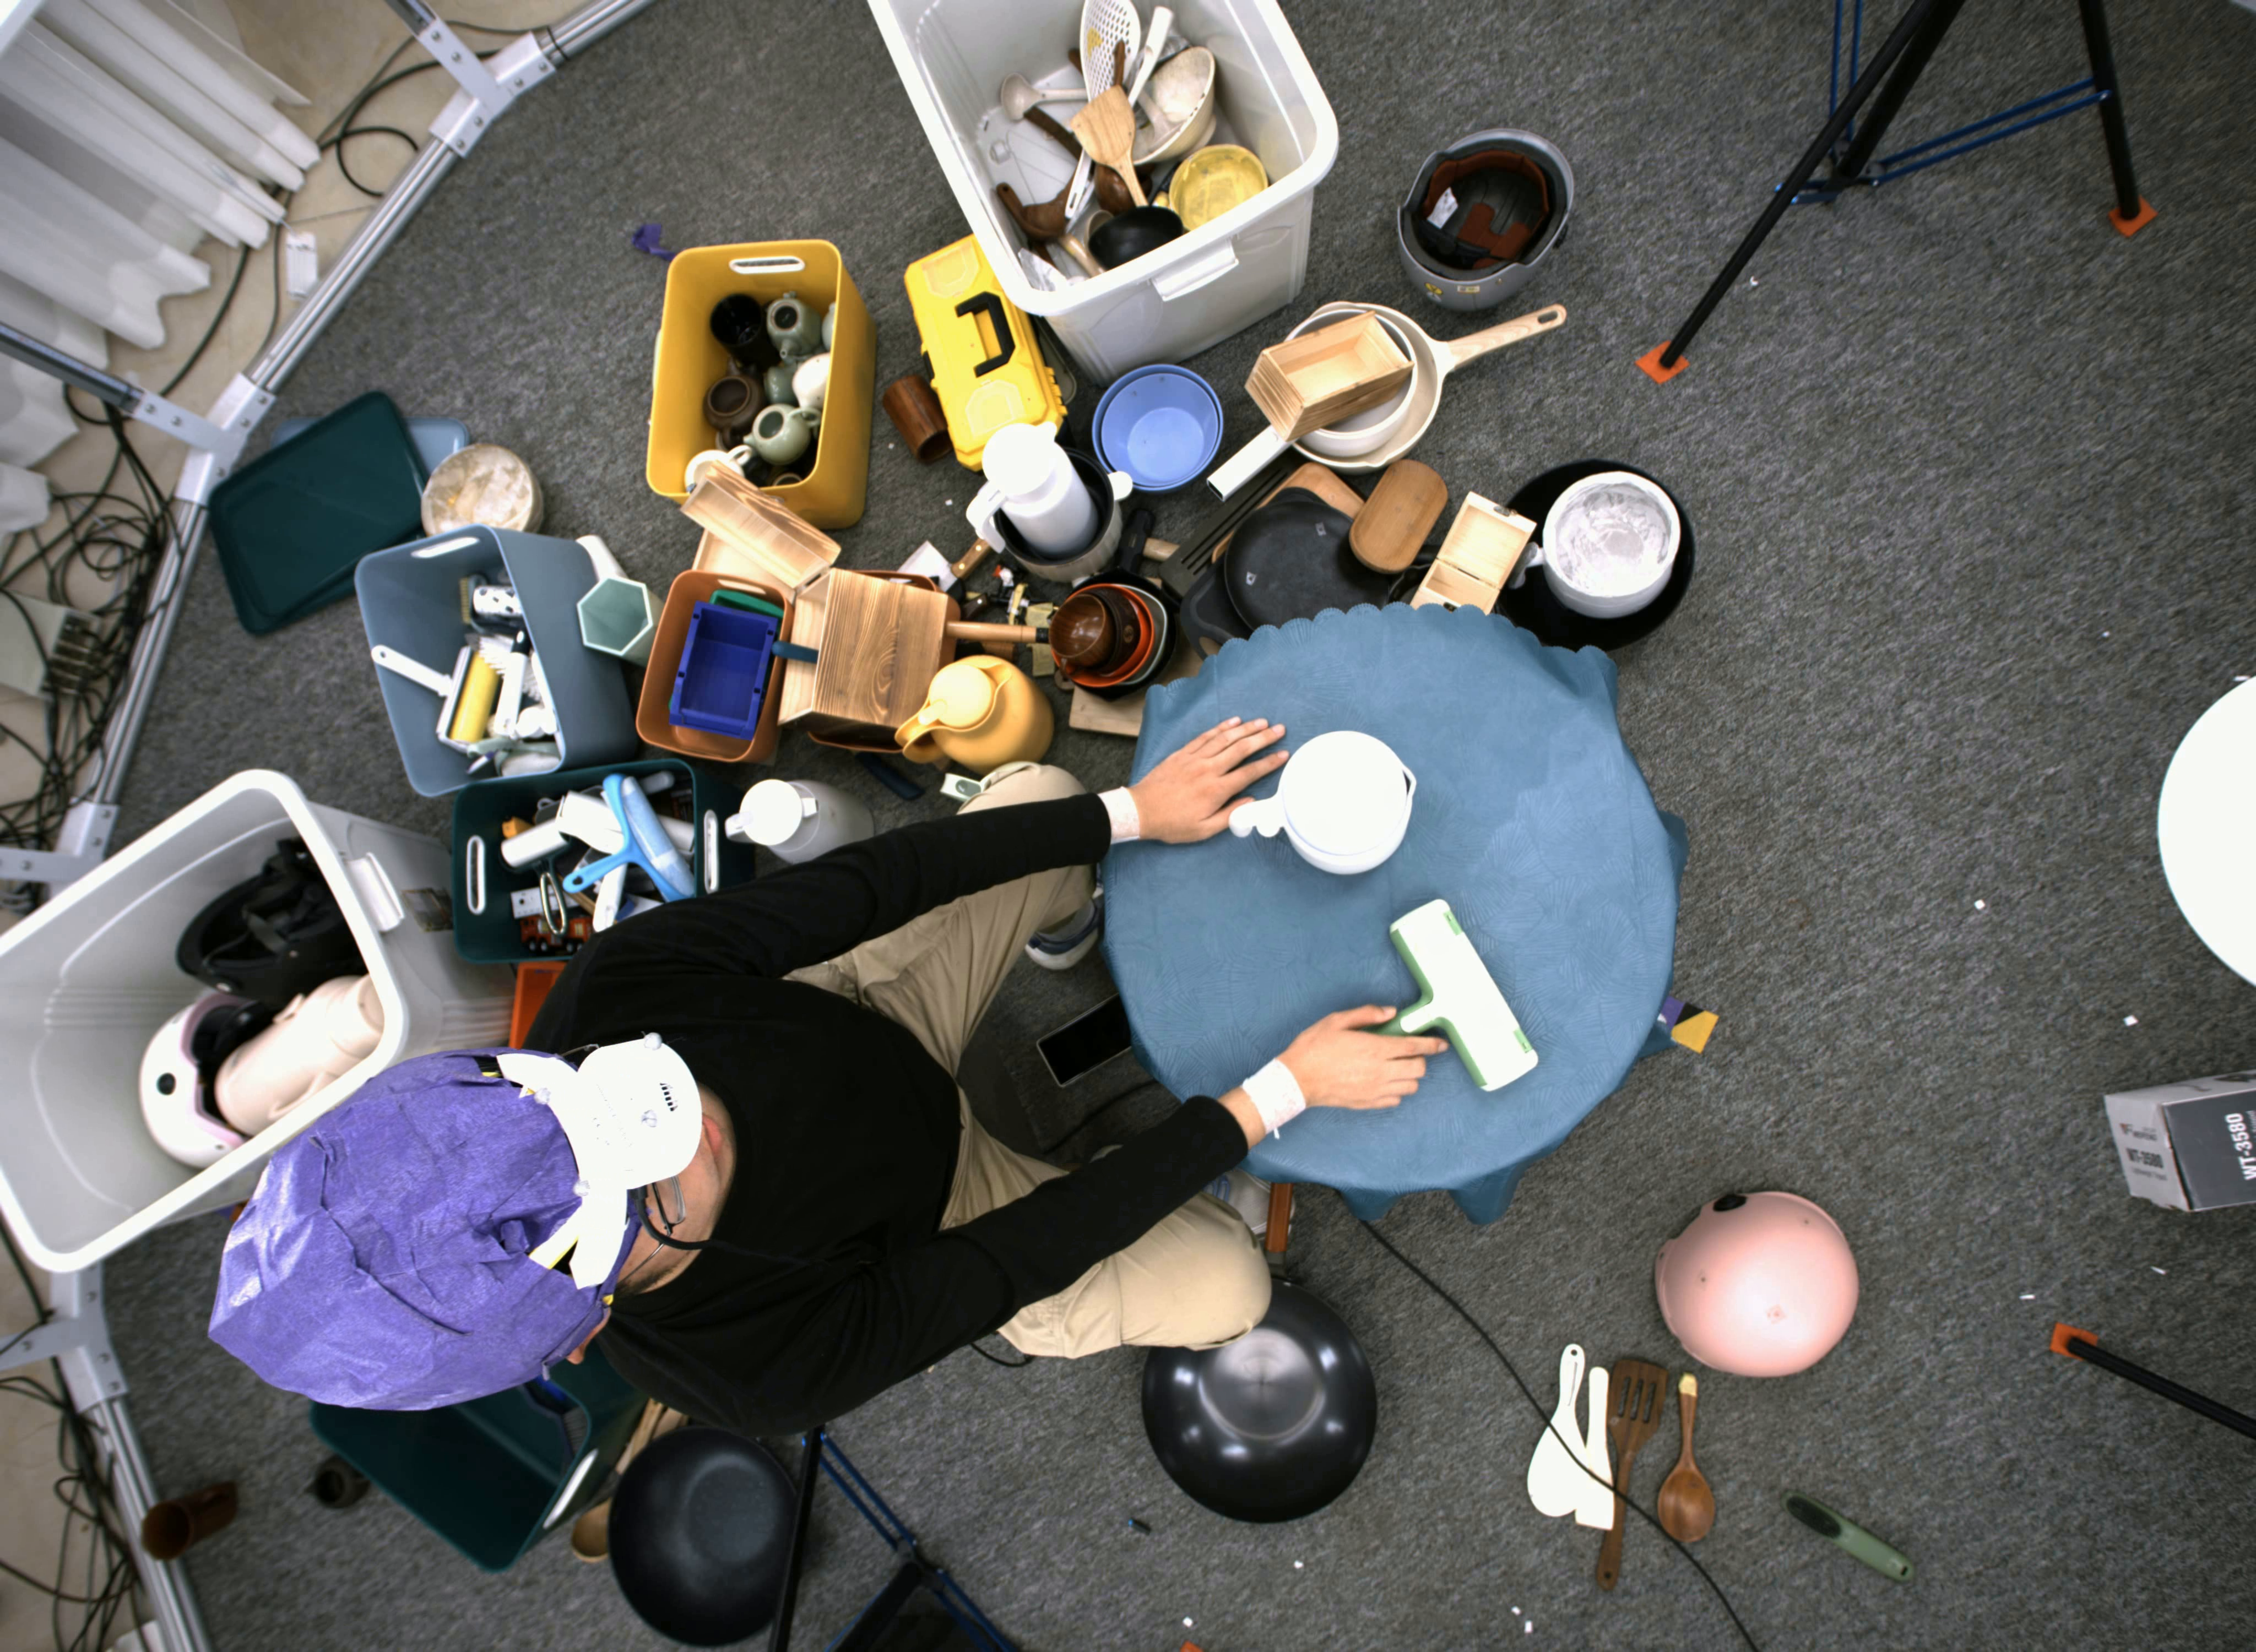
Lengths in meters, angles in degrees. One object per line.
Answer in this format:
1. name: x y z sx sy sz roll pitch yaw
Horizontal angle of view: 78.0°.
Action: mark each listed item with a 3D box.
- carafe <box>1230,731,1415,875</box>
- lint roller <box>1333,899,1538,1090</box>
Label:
1. carafe: 0.195 -0.017 1.392 0.192 0.183 0.131 -13 82 11
2. lint roller: 0.291 0.197 1.410 0.184 0.082 0.197 -30 81 4
